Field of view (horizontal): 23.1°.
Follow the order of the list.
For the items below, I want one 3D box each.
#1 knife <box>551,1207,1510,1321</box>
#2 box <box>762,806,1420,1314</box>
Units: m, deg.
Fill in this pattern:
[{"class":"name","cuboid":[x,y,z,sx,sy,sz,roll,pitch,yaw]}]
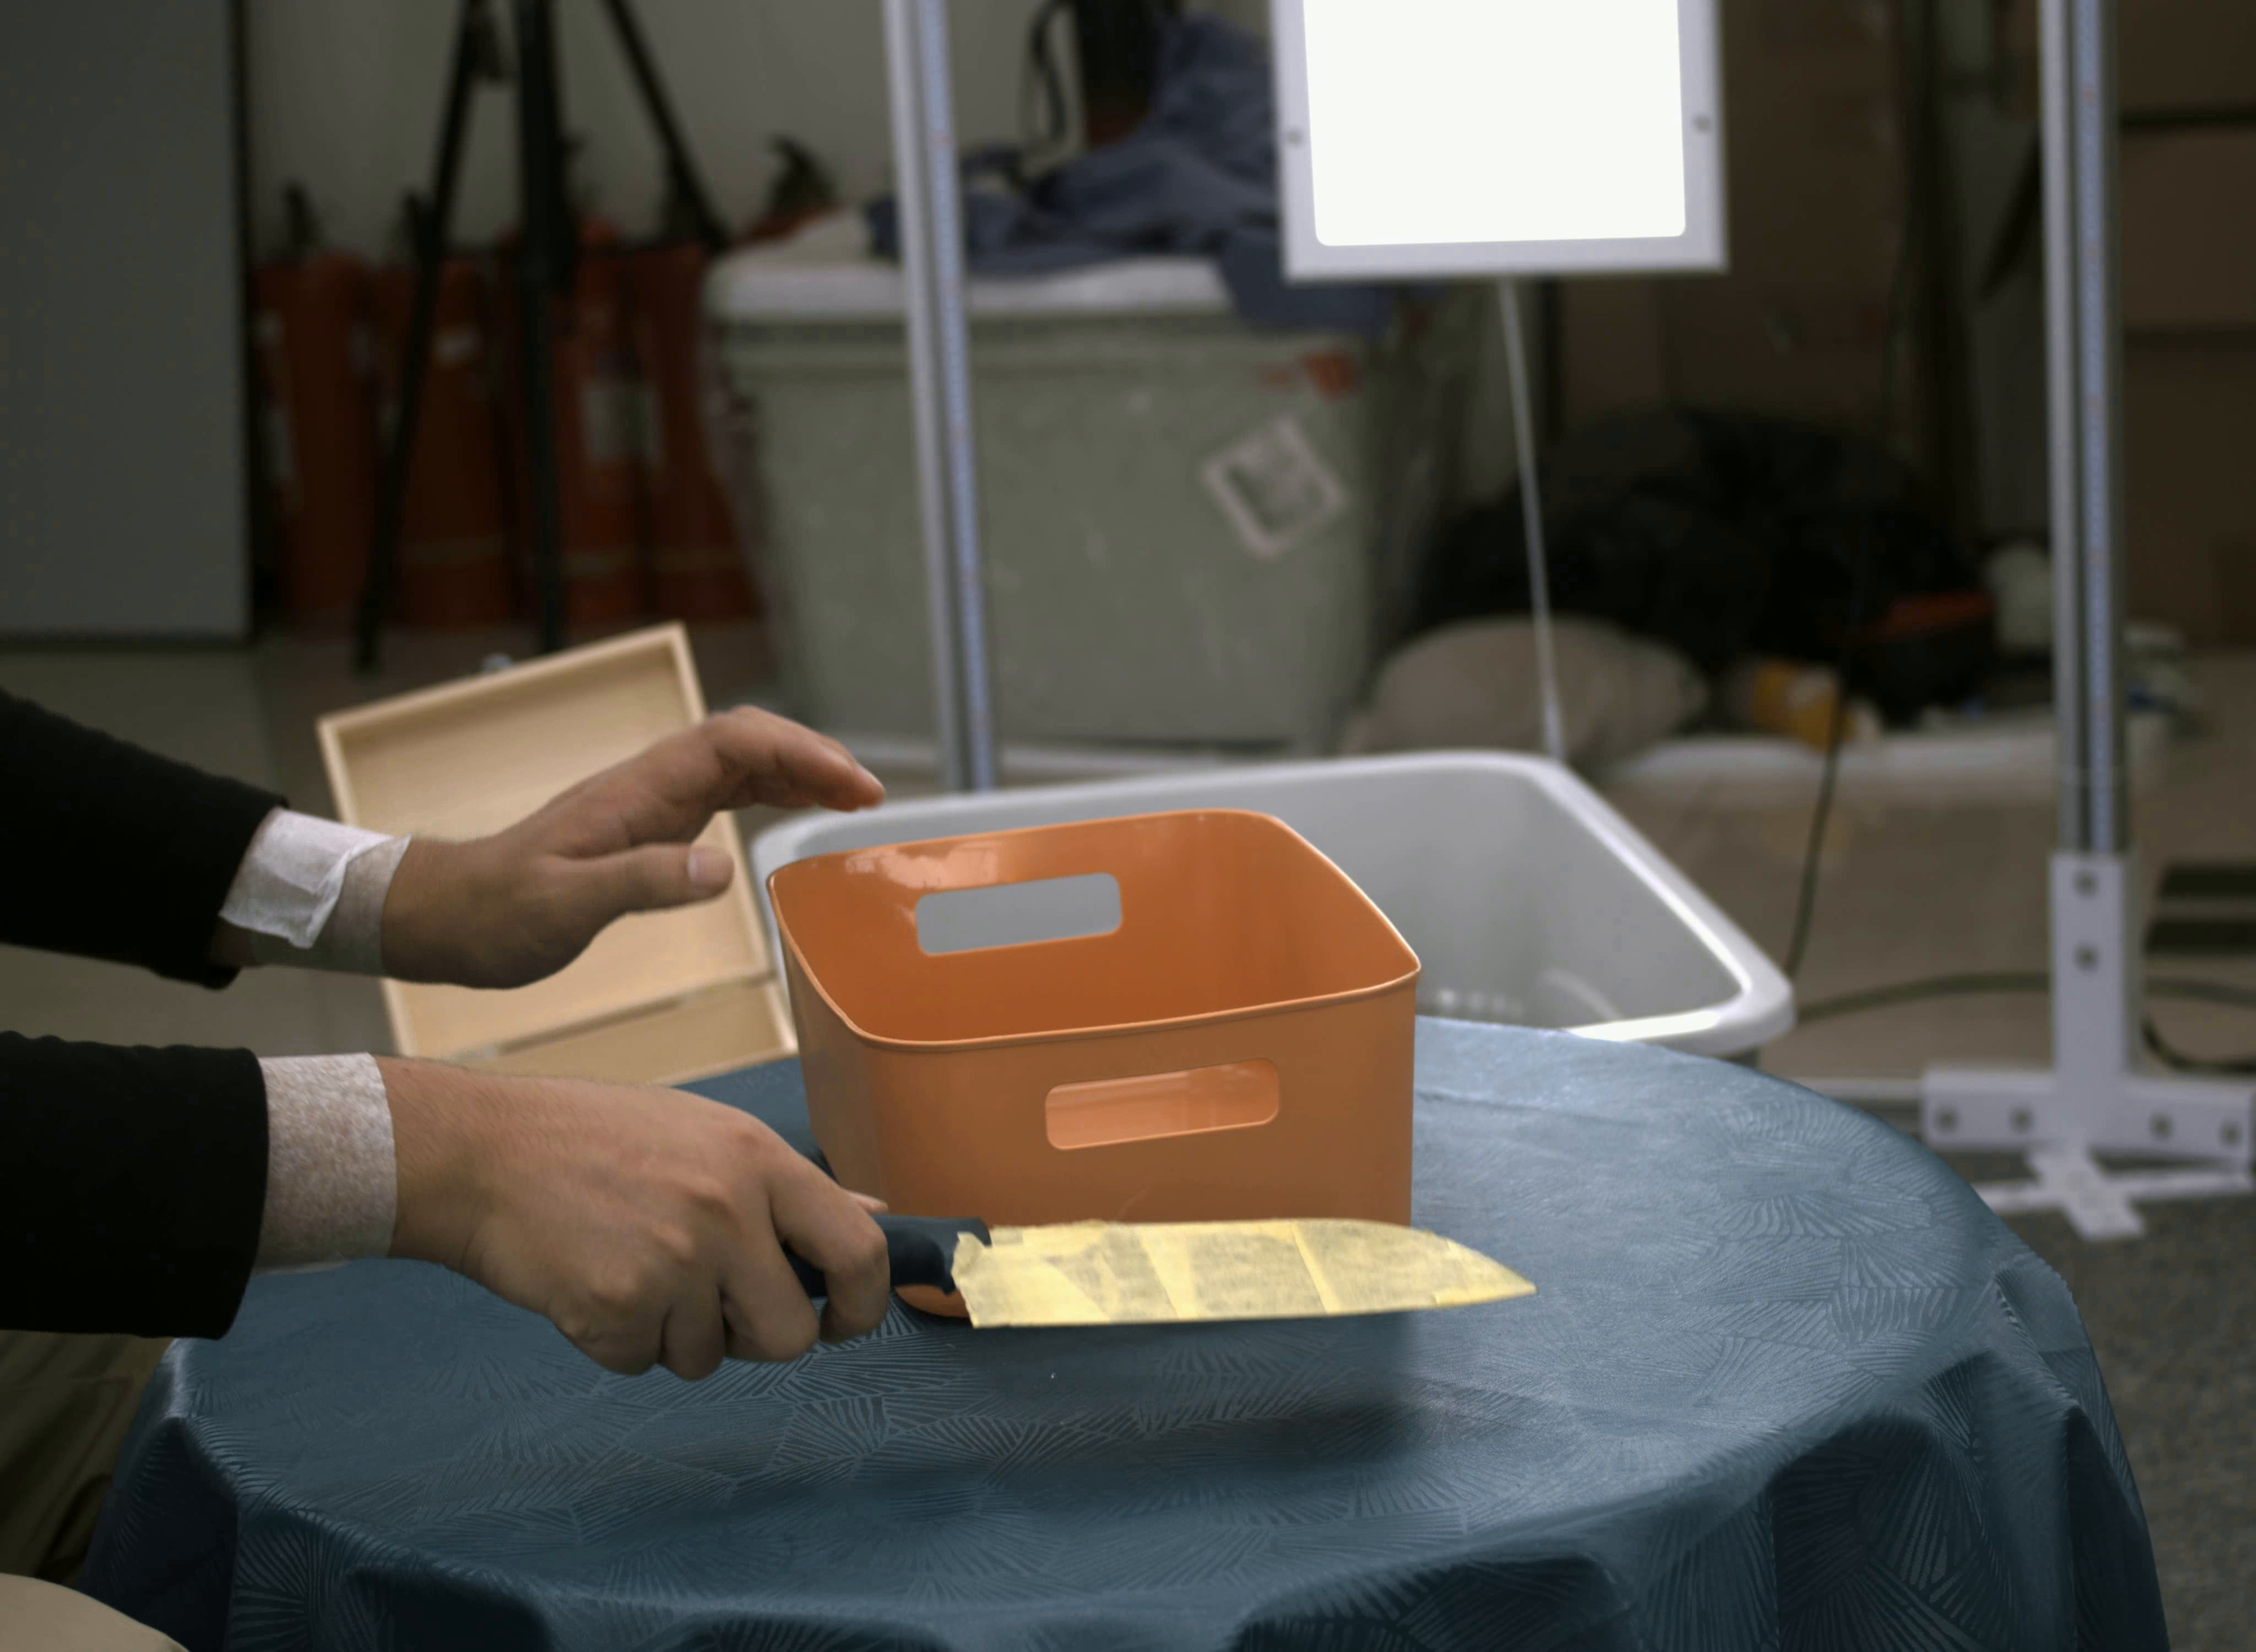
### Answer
[{"class":"knife","cuboid":[-0.028,0.132,1.649,0.288,0.027,0.081,-3,15,-2]},{"class":"box","cuboid":[-0.016,0.078,1.884,0.197,0.103,0.275,-6,14,-9]}]
